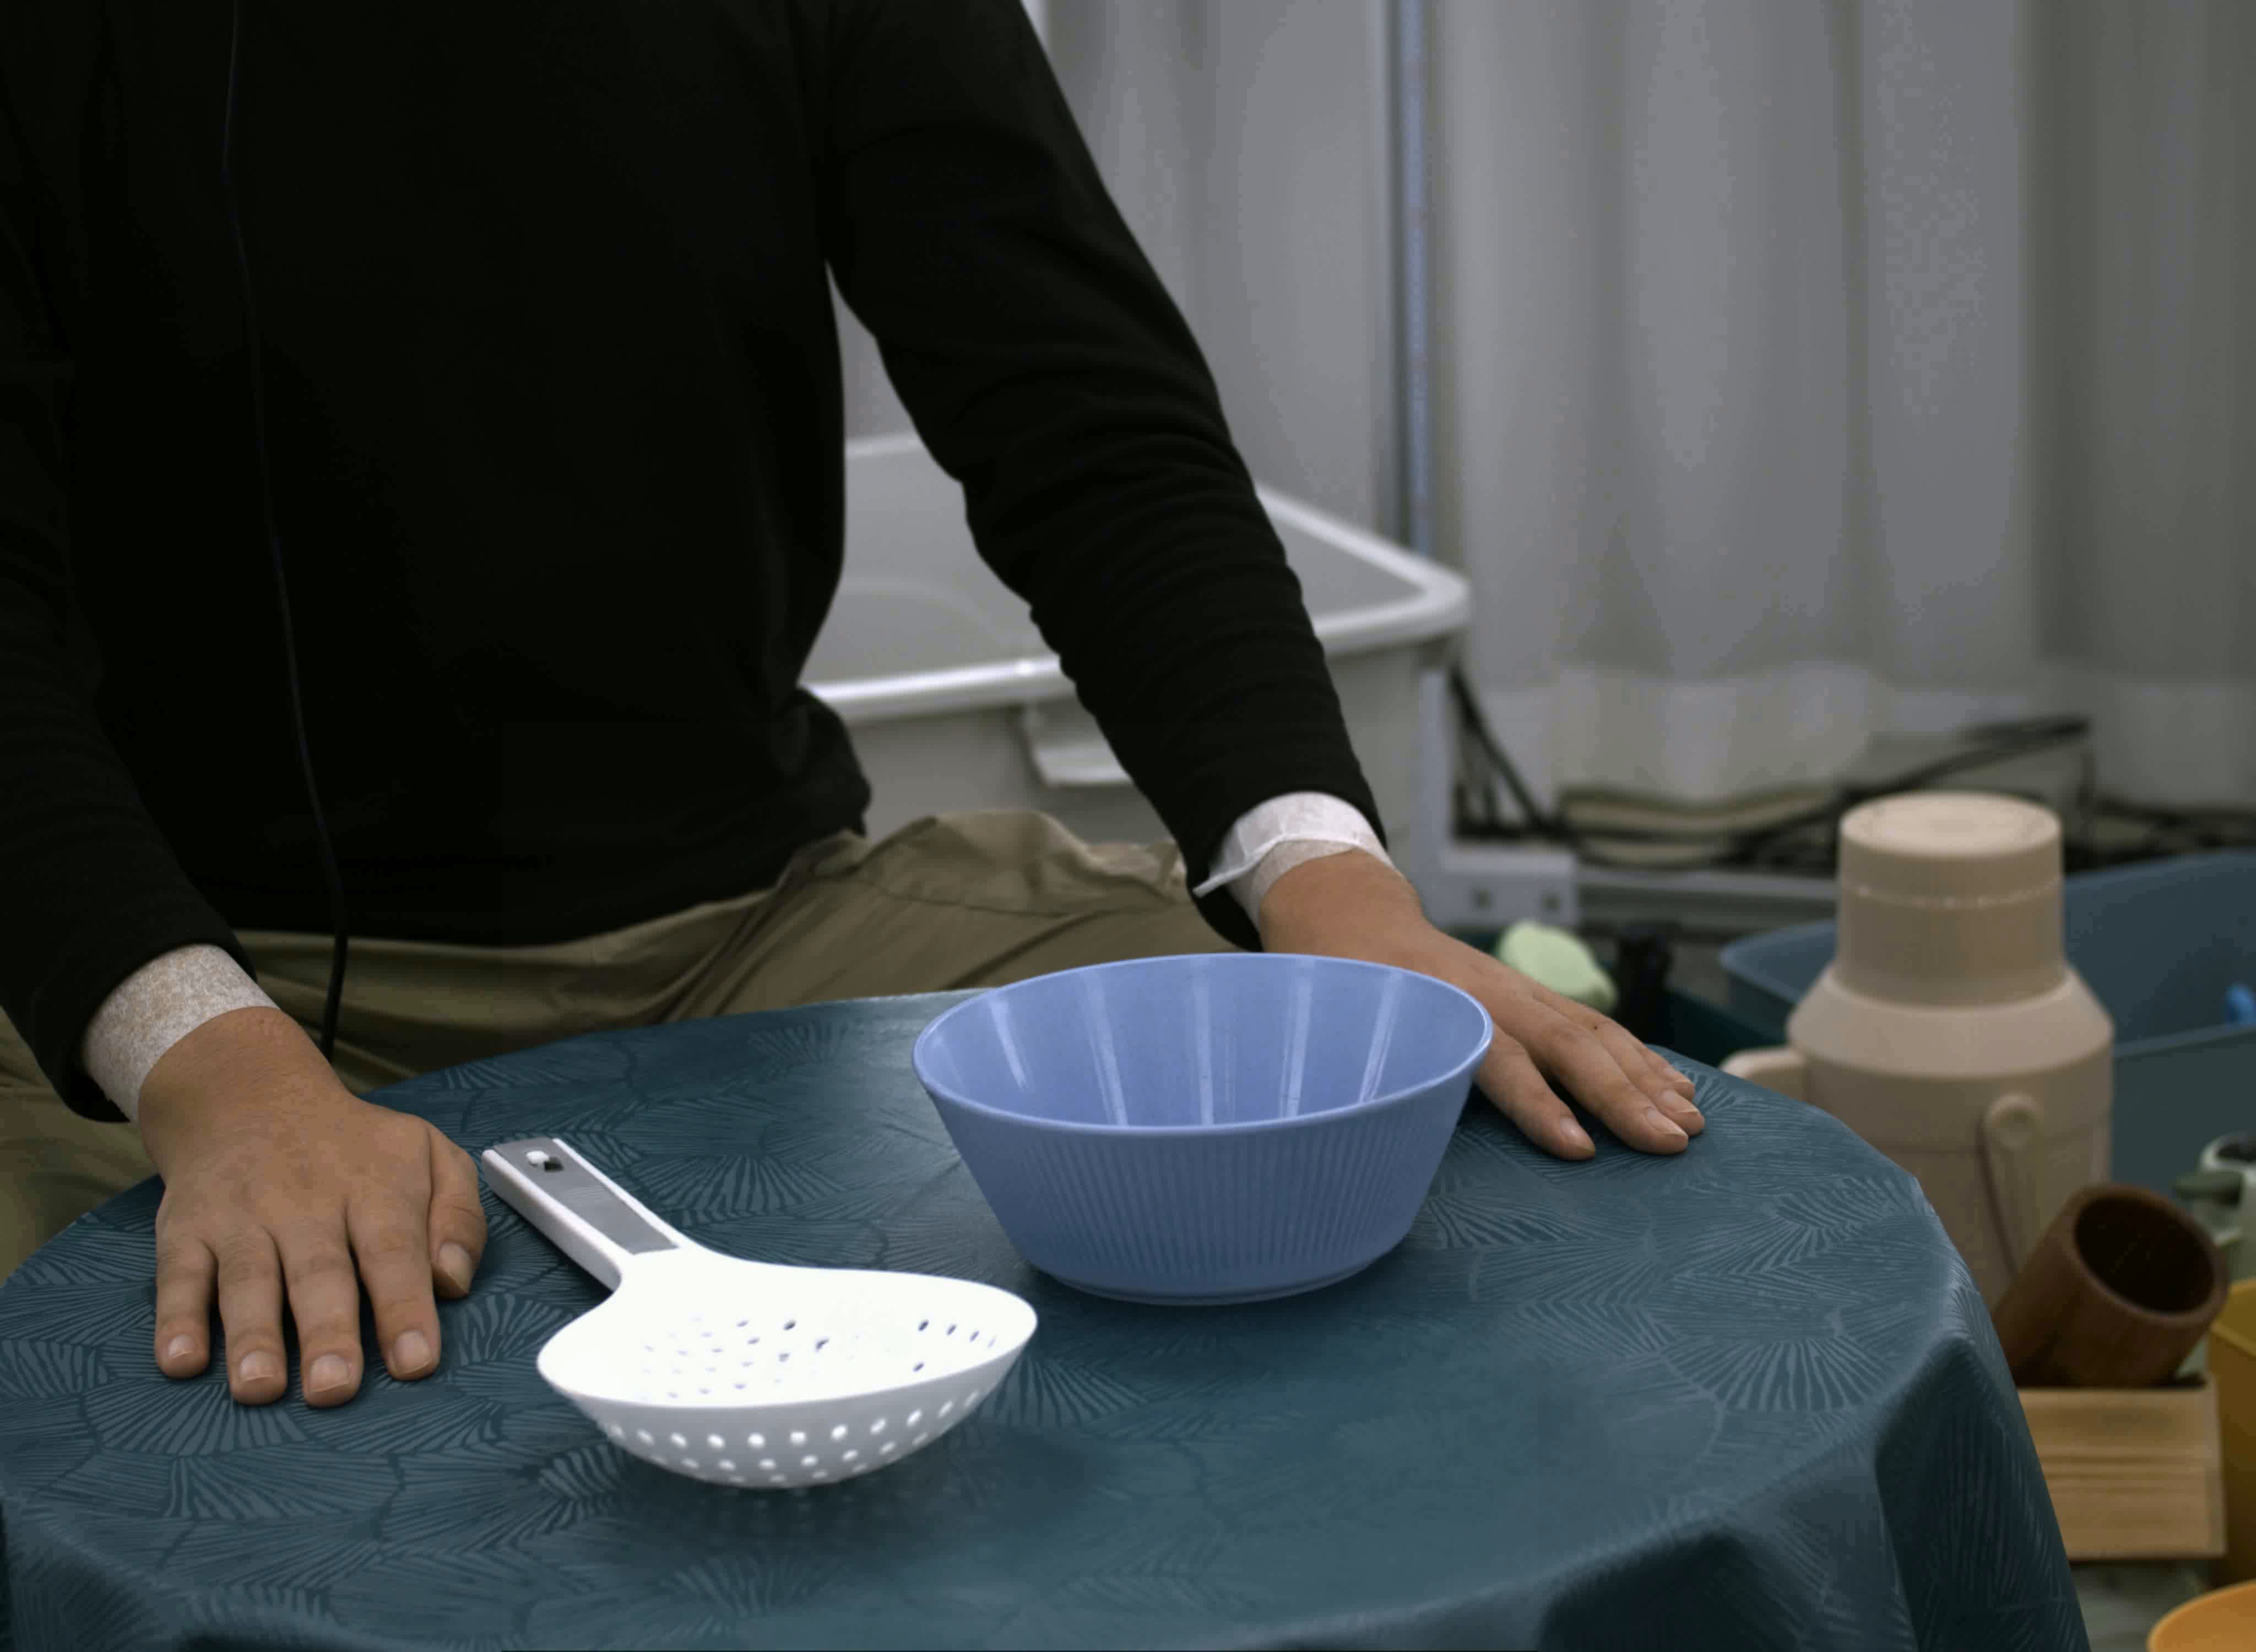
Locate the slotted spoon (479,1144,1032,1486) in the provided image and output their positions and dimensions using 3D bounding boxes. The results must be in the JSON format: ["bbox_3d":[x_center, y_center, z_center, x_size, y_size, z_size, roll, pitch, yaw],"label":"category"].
[{"bbox_3d":[-0.132,0.132,1.586,0.135,0.045,0.352,-9,15,-20],"label":"slotted spoon"}]

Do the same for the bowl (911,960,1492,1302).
[{"bbox_3d":[0.024,0.094,1.652,0.175,0.070,0.177,-3,14,1],"label":"bowl"}]
